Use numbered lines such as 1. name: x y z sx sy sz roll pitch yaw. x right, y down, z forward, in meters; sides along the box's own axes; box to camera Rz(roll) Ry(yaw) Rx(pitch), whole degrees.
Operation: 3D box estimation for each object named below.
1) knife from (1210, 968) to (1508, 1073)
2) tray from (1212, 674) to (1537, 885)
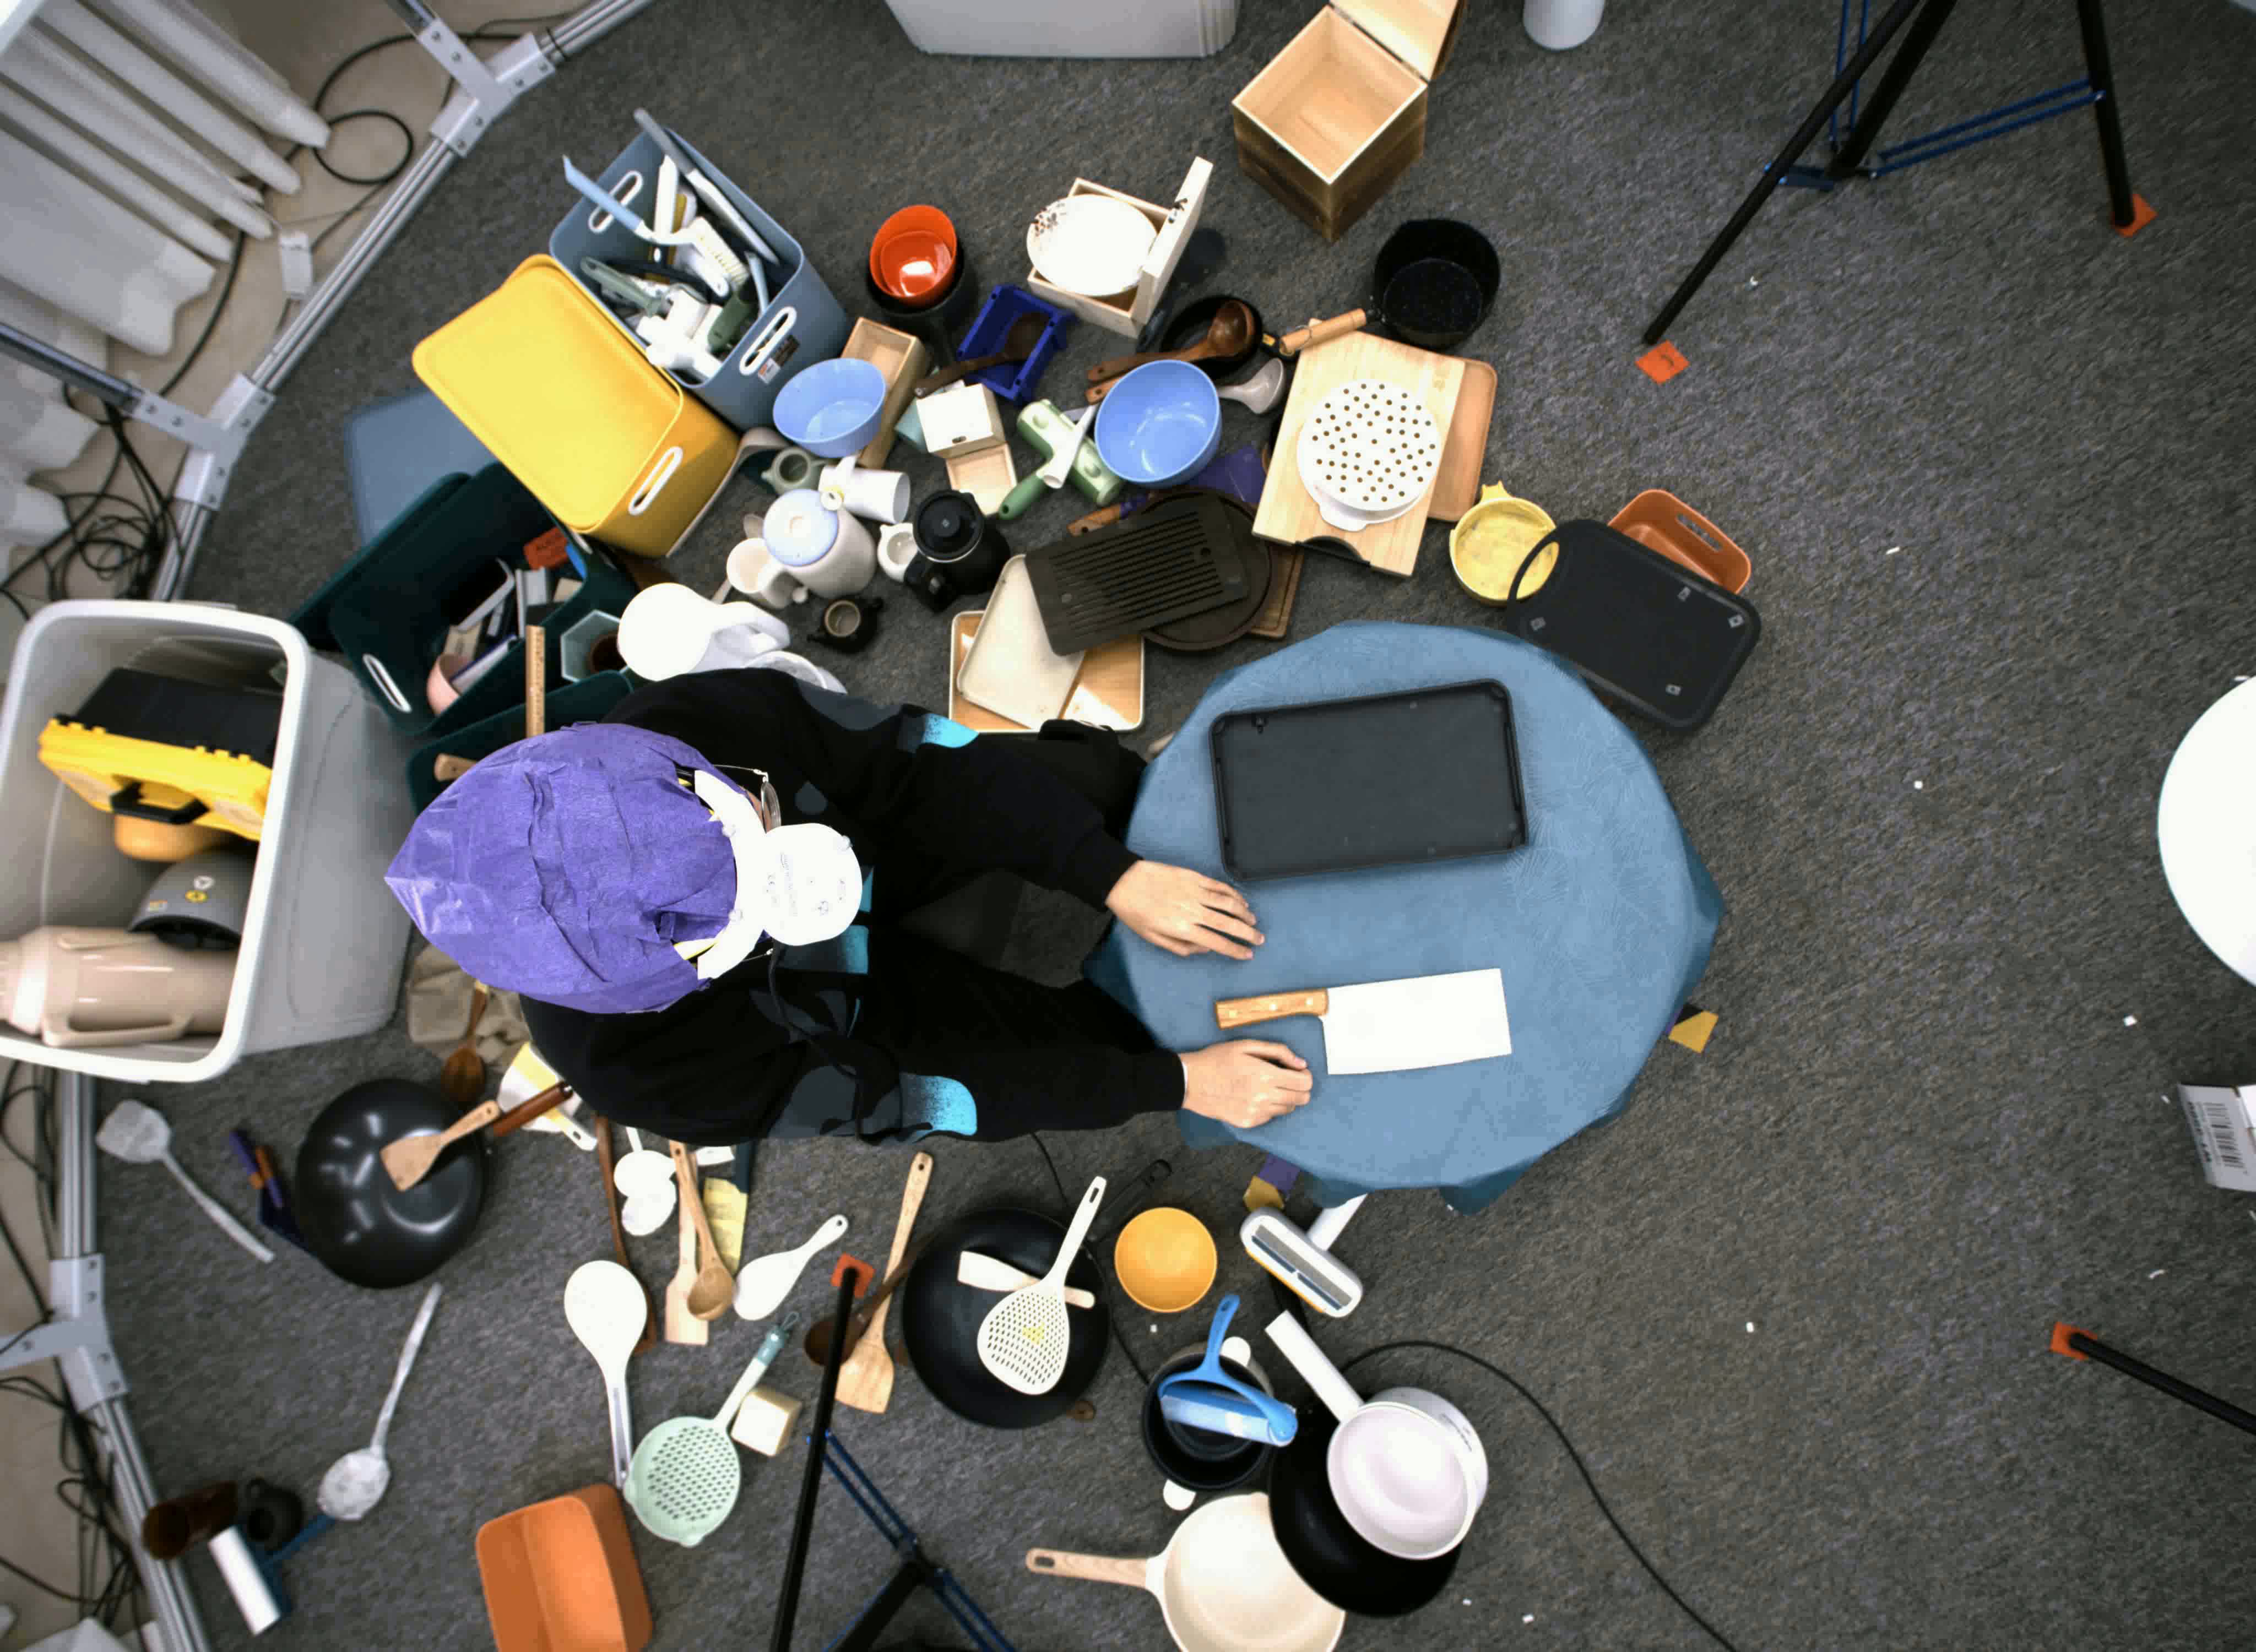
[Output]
1. knife: 0.242 0.208 1.450 0.307 0.021 0.092 -8 87 8
2. tray: 0.256 -0.048 1.451 0.319 0.037 0.183 -9 86 10
